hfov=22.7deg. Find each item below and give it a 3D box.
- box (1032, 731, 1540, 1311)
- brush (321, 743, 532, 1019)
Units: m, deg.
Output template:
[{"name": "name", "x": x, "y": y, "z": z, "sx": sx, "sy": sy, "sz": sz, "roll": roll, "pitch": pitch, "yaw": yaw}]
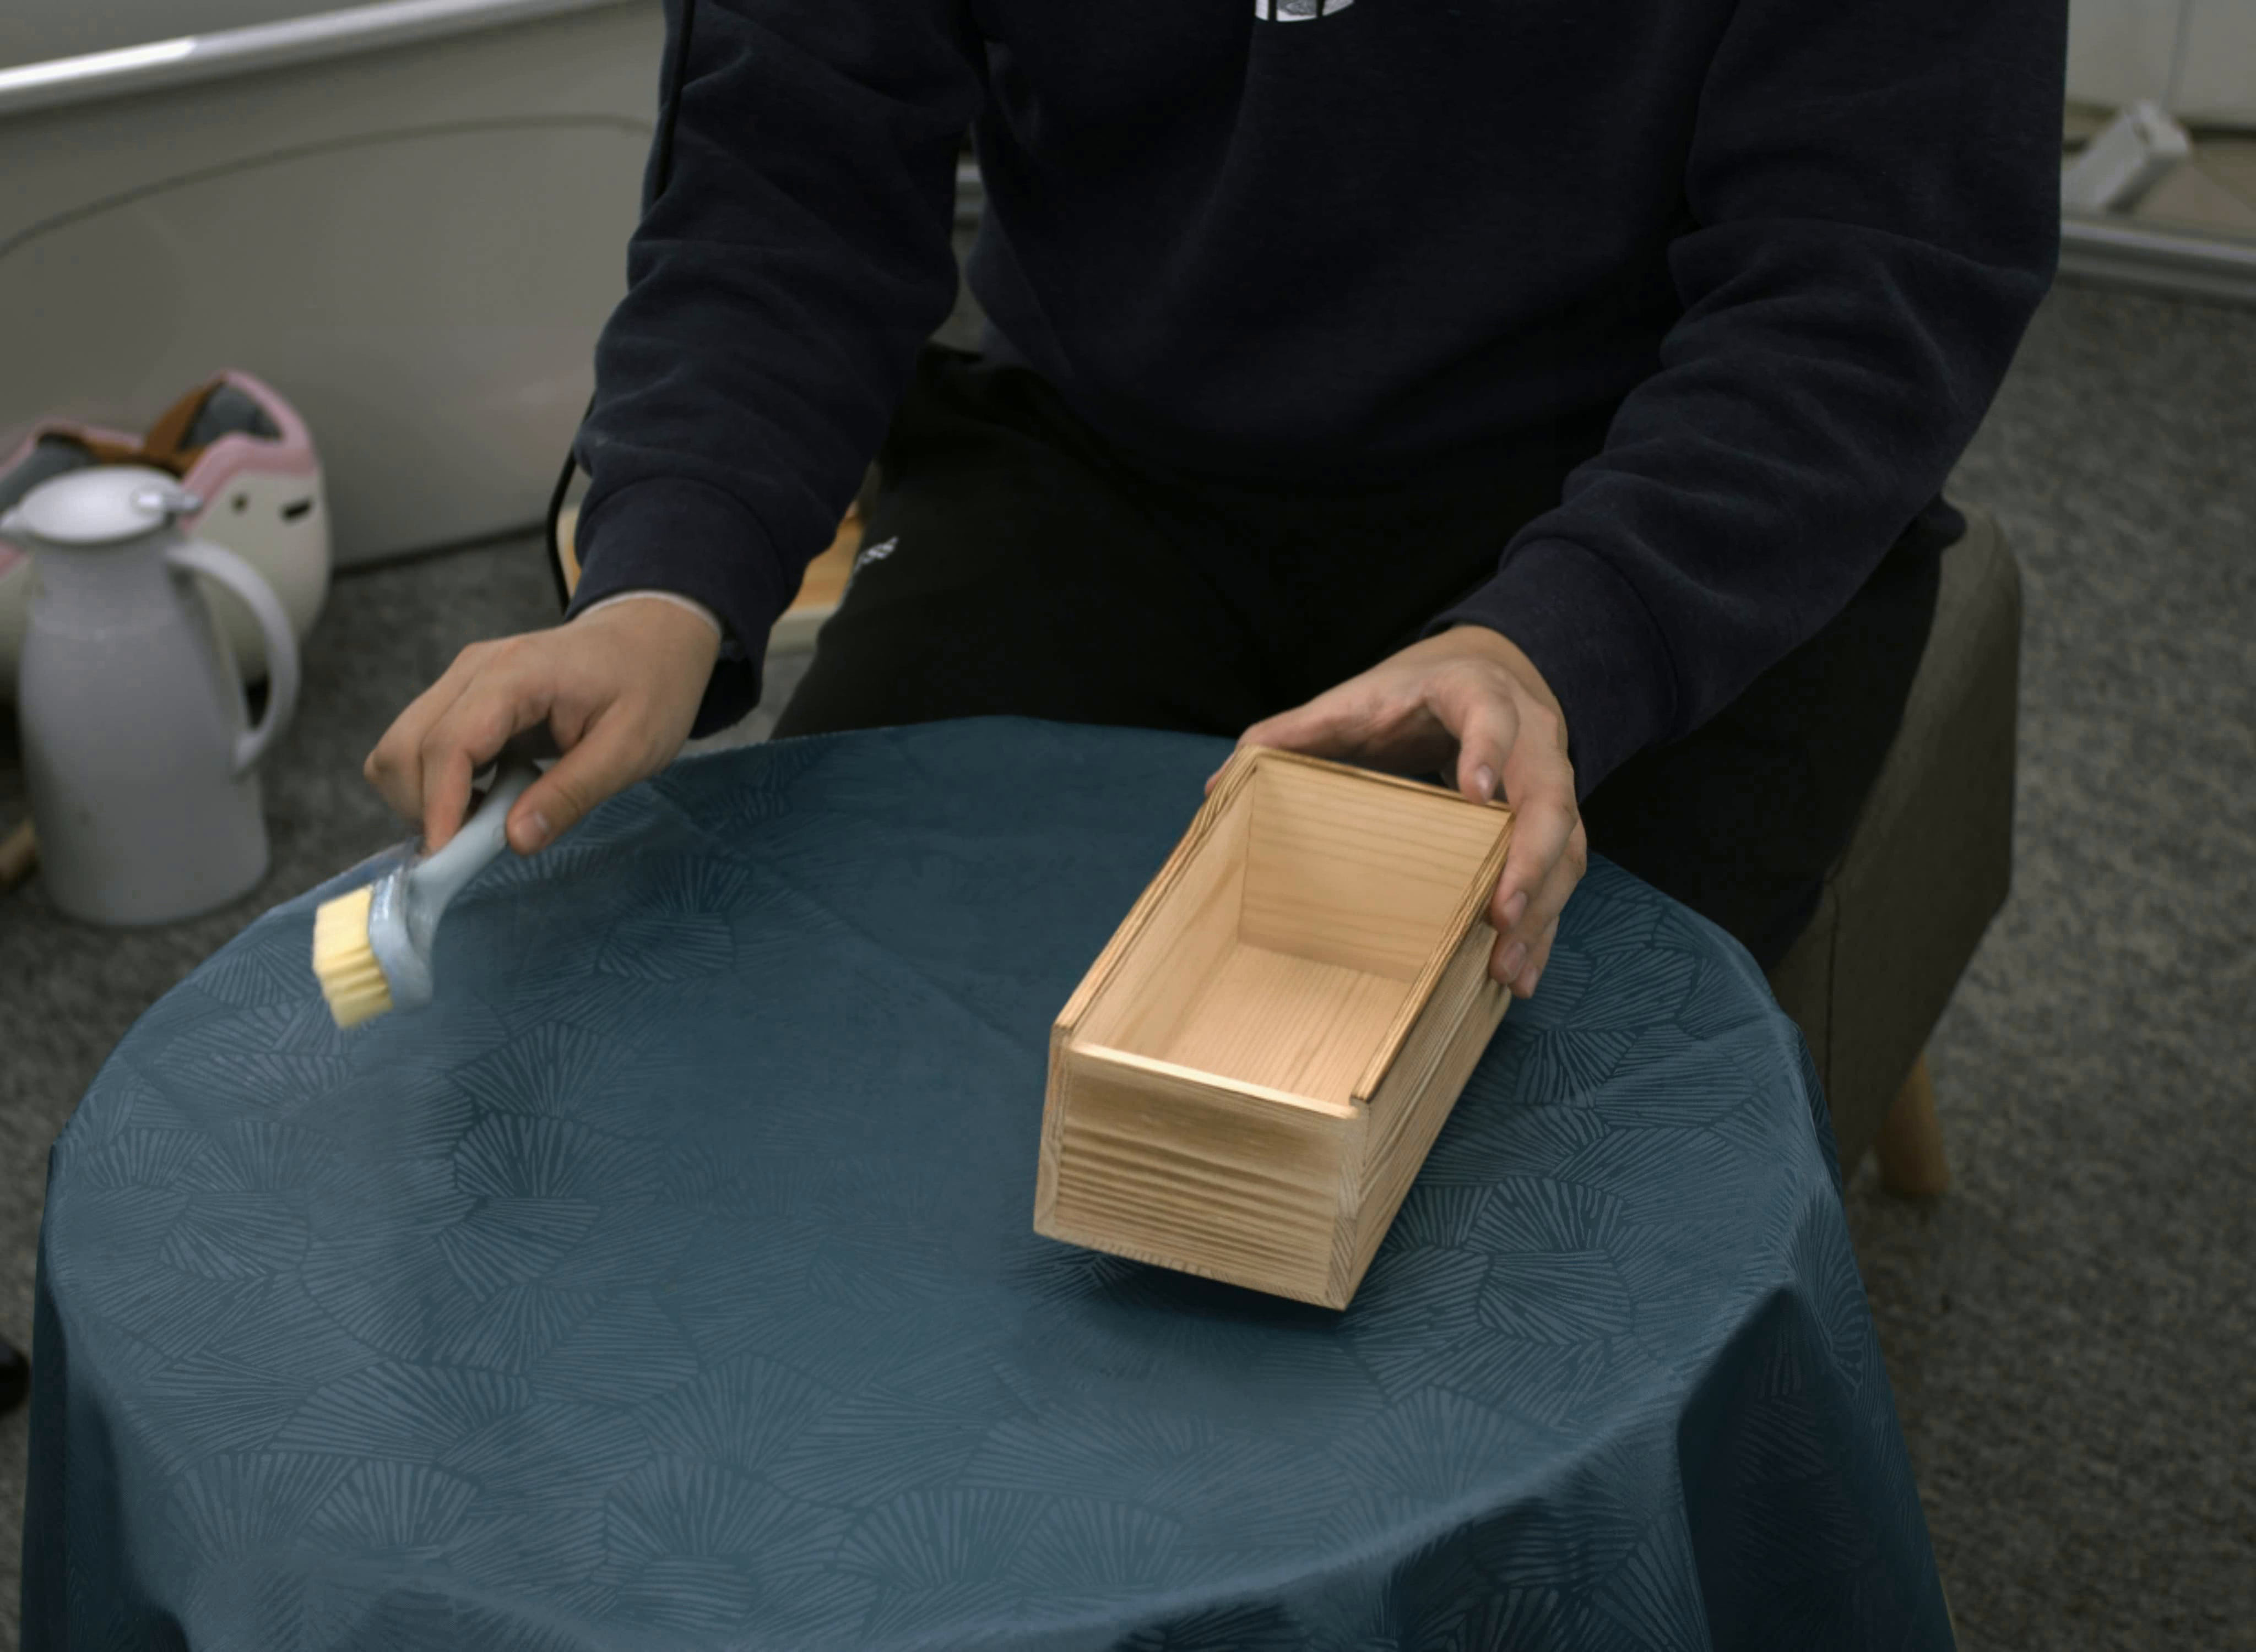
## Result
[{"name": "box", "x": 0.055, "y": 0.061, "z": 1.859, "sx": 0.107, "sy": 0.079, "sz": 0.215, "roll": 14, "pitch": 30, "yaw": 12}, {"name": "brush", "x": -0.246, "y": 0.015, "z": 1.971, "sx": 0.049, "sy": 0.037, "sz": 0.231, "roll": -21, "pitch": 17, "yaw": 12}]
